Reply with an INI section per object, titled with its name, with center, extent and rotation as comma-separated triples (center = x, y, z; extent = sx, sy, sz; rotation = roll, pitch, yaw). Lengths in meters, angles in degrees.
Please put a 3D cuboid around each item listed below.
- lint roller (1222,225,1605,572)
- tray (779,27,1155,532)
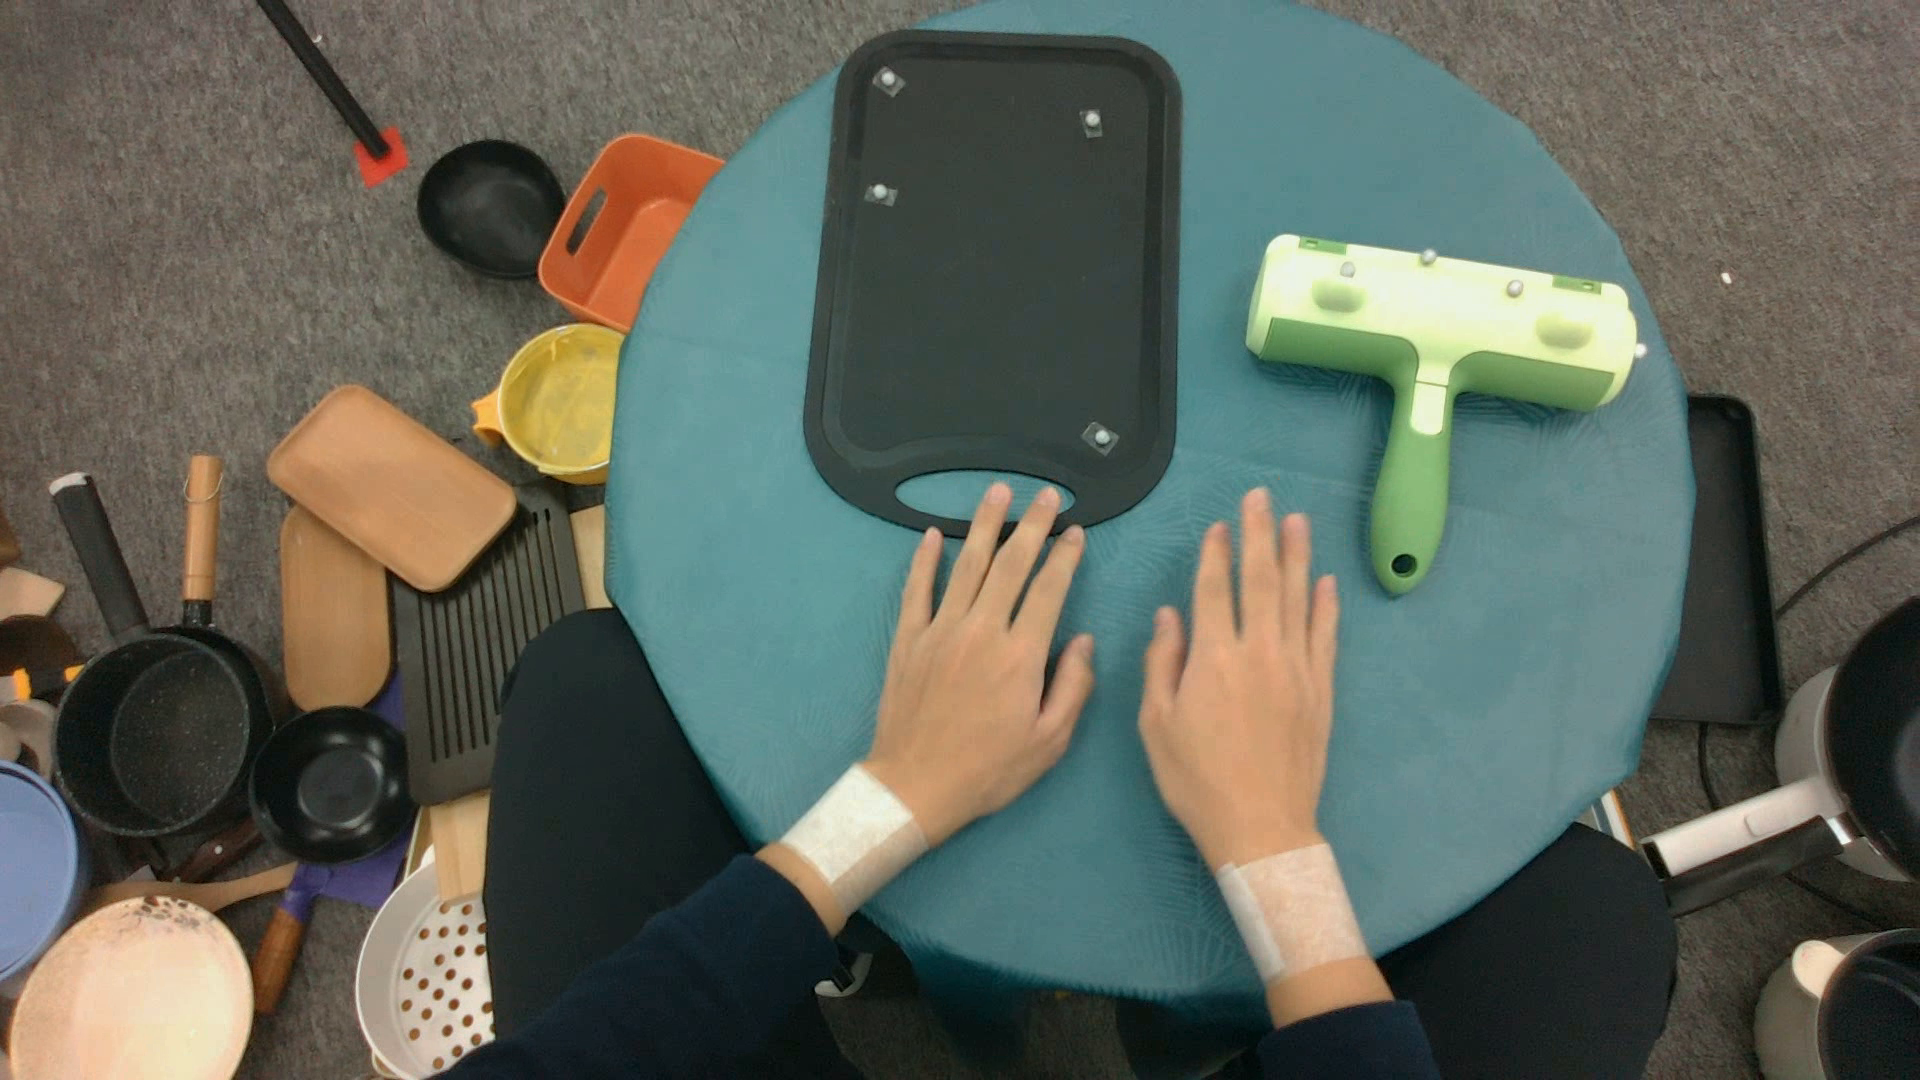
[lint roller]
center = 0.236, -0.079, 0.725
extent = 0.198, 0.082, 0.184
rotation = 8, 66, 4
[tray]
center = 0.007, -0.160, 0.796
extent = 0.211, 0.010, 0.326
rotation = 2, 72, 1
